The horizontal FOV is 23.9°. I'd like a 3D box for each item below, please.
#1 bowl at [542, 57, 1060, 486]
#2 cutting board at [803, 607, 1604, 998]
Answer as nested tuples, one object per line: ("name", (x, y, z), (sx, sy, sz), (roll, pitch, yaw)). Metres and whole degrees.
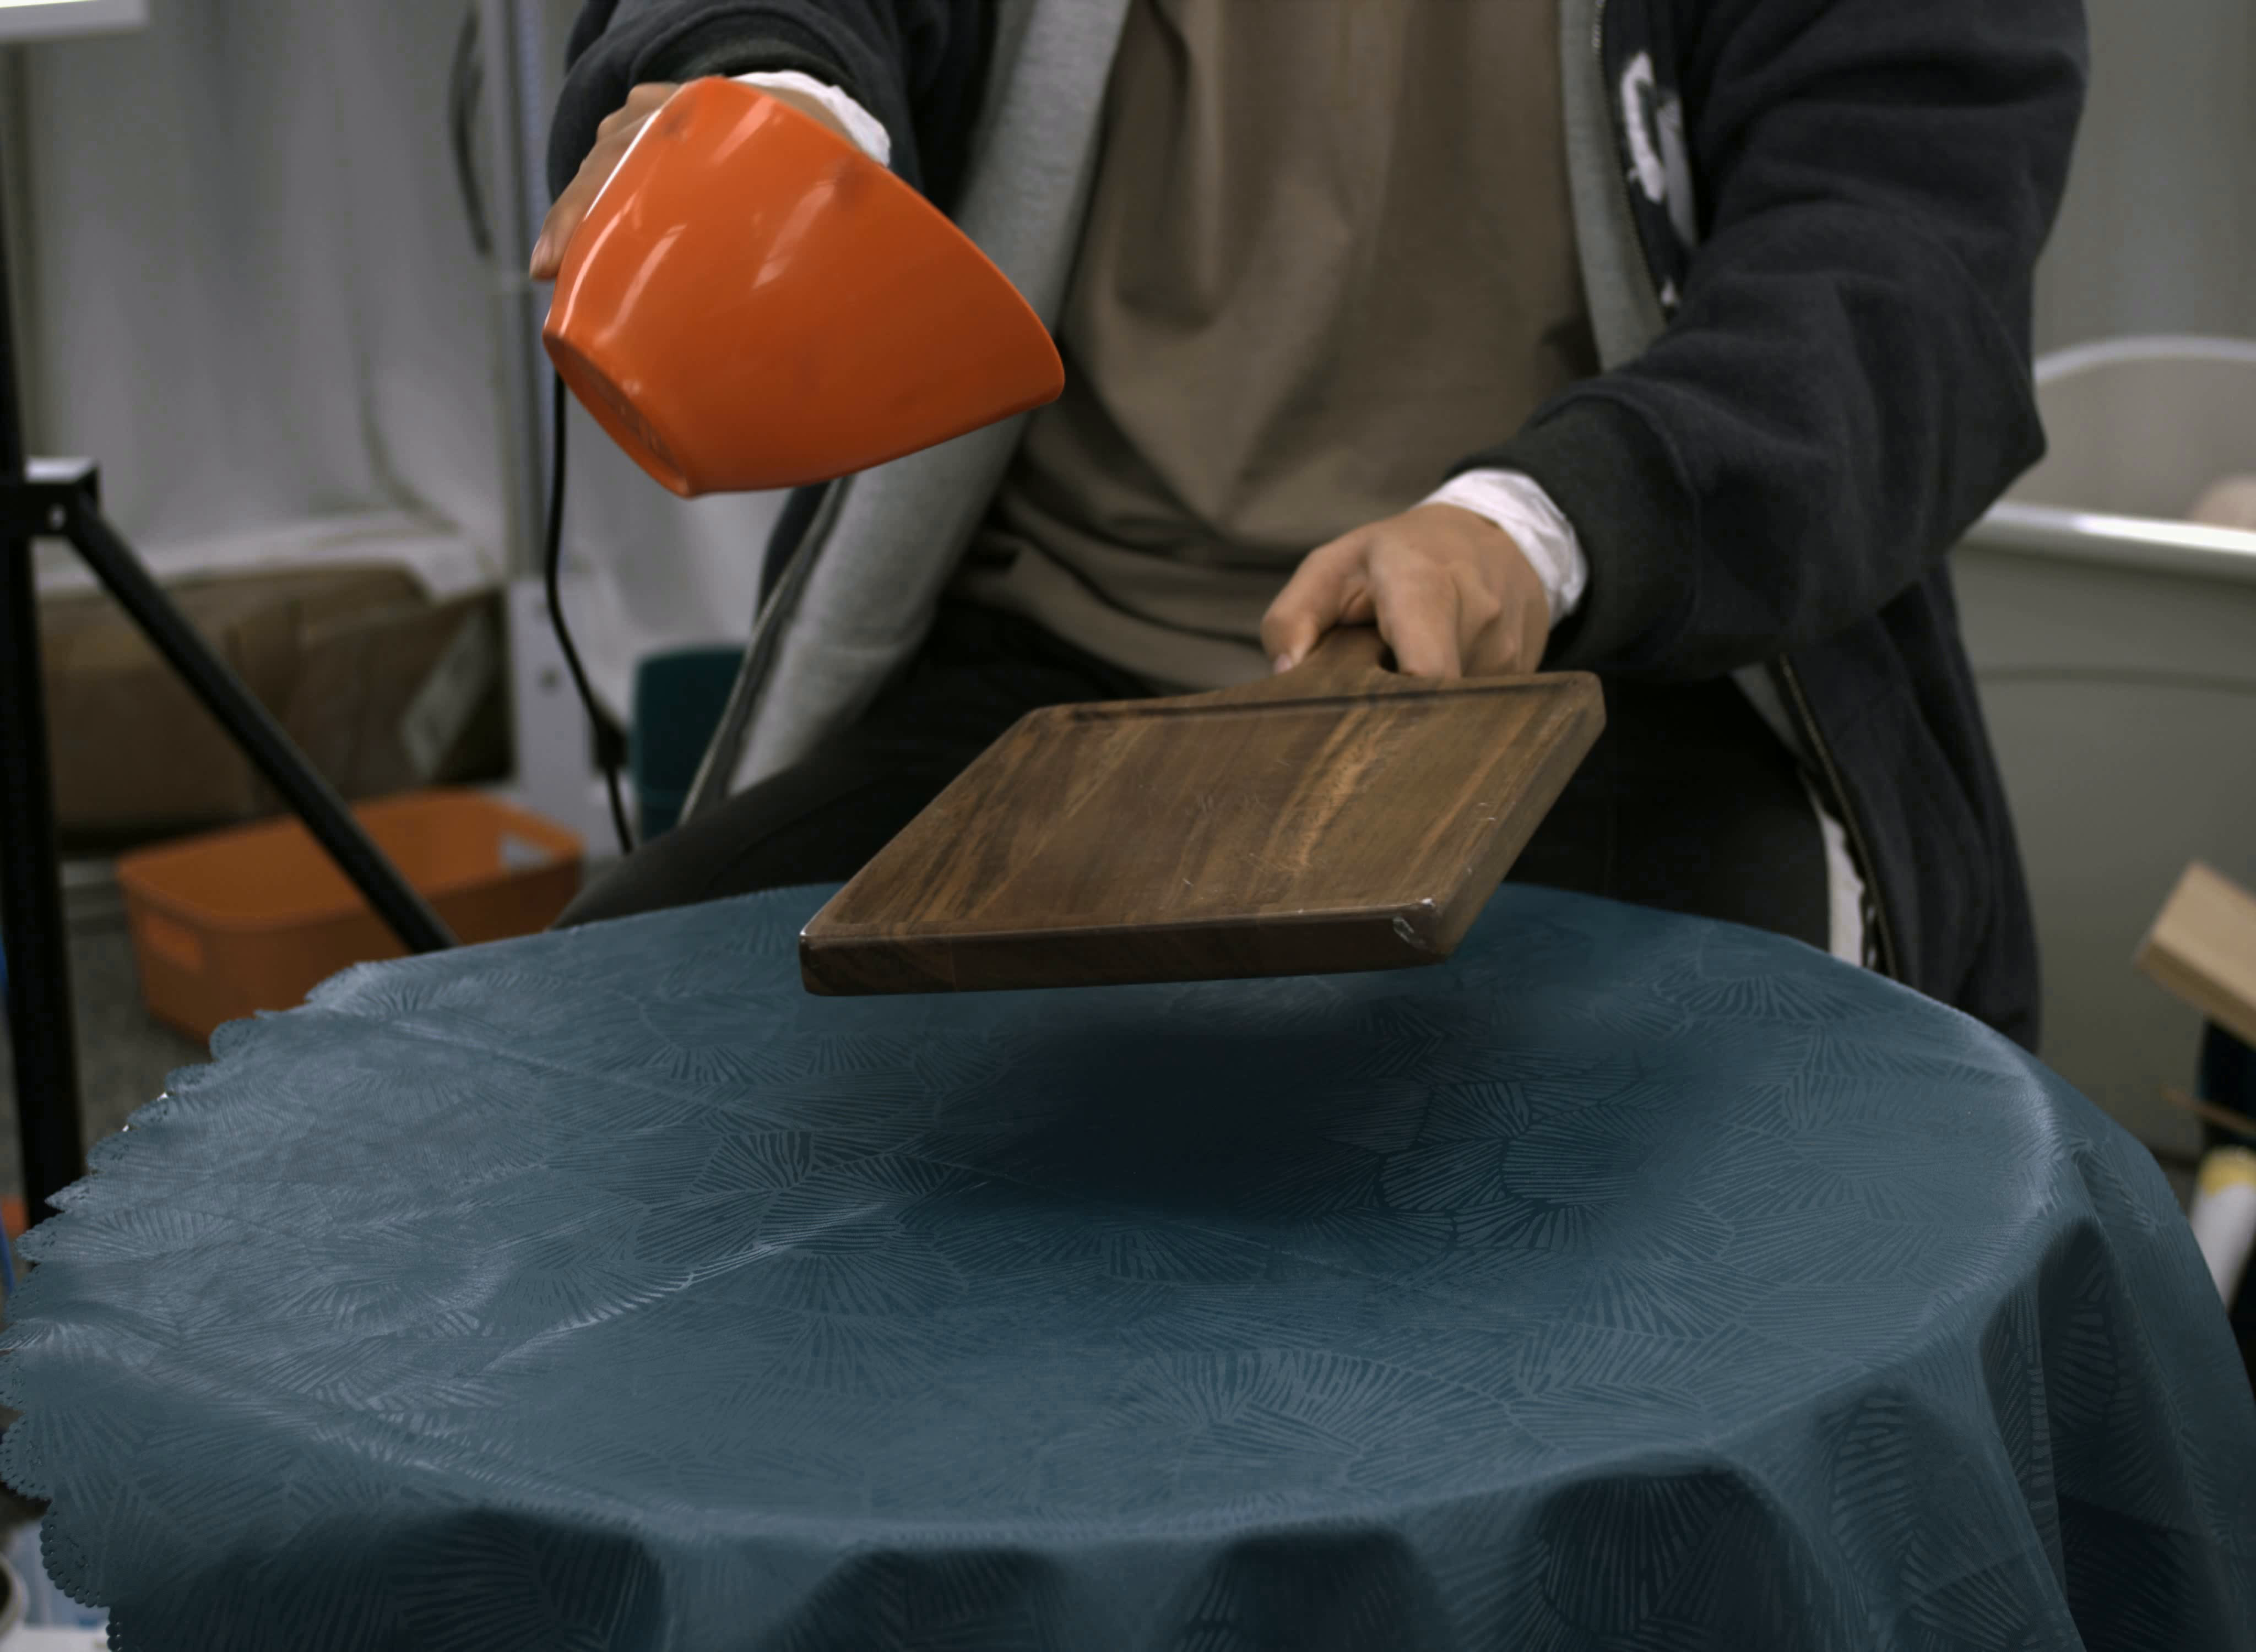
("bowl", (-0.108, -0.151, 1.597), (0.104, 0.146, 0.151), (-41, 27, -12))
("cutting board", (0.042, -0.014, 1.665), (0.203, 0.023, 0.349), (-4, 16, 18))
